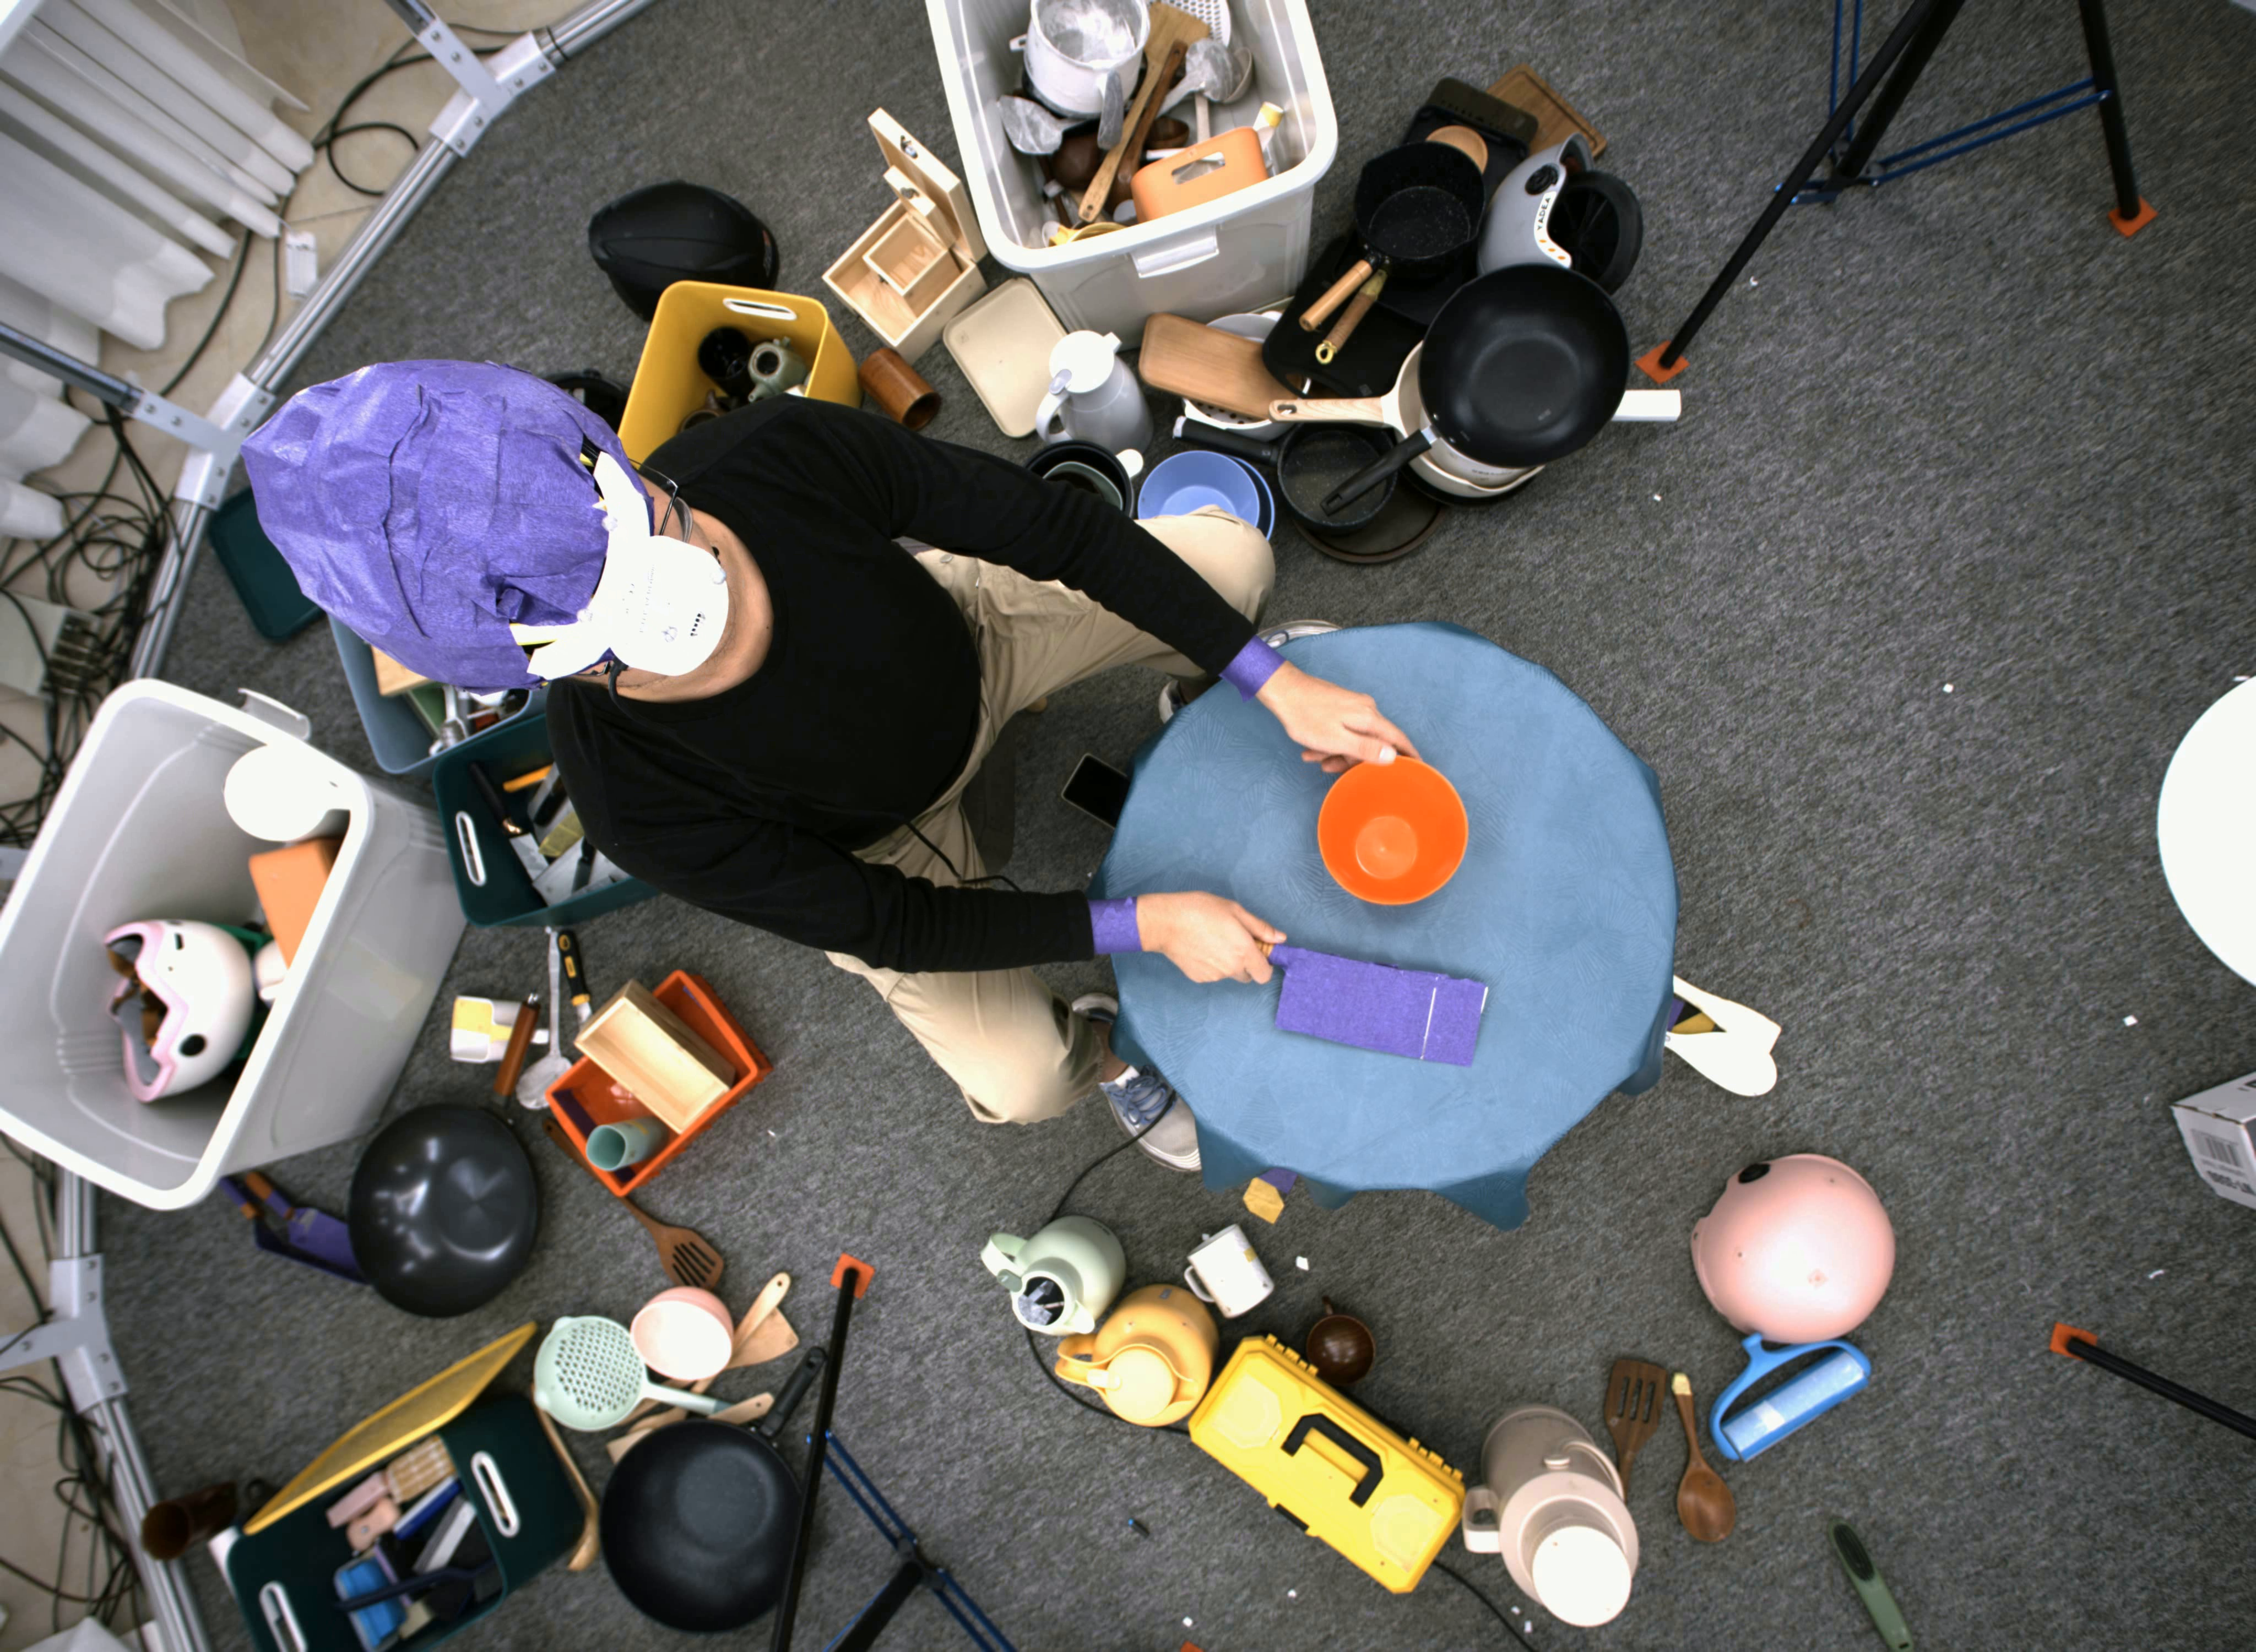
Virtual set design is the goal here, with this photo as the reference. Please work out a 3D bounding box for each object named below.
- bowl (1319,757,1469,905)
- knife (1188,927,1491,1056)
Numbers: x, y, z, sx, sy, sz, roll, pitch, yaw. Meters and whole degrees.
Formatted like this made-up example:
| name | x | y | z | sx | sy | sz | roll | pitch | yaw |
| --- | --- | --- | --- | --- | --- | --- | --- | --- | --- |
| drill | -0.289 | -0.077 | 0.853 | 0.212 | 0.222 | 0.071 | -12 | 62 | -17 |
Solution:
| name | x | y | z | sx | sy | sz | roll | pitch | yaw |
| --- | --- | --- | --- | --- | --- | --- | --- | --- | --- |
| bowl | 0.270 | 0.008 | 1.413 | 0.148 | 0.104 | 0.147 | -1 | 87 | 10 |
| knife | 0.212 | 0.175 | 1.438 | 0.316 | 0.032 | 0.105 | 10 | 102 | 9 |
